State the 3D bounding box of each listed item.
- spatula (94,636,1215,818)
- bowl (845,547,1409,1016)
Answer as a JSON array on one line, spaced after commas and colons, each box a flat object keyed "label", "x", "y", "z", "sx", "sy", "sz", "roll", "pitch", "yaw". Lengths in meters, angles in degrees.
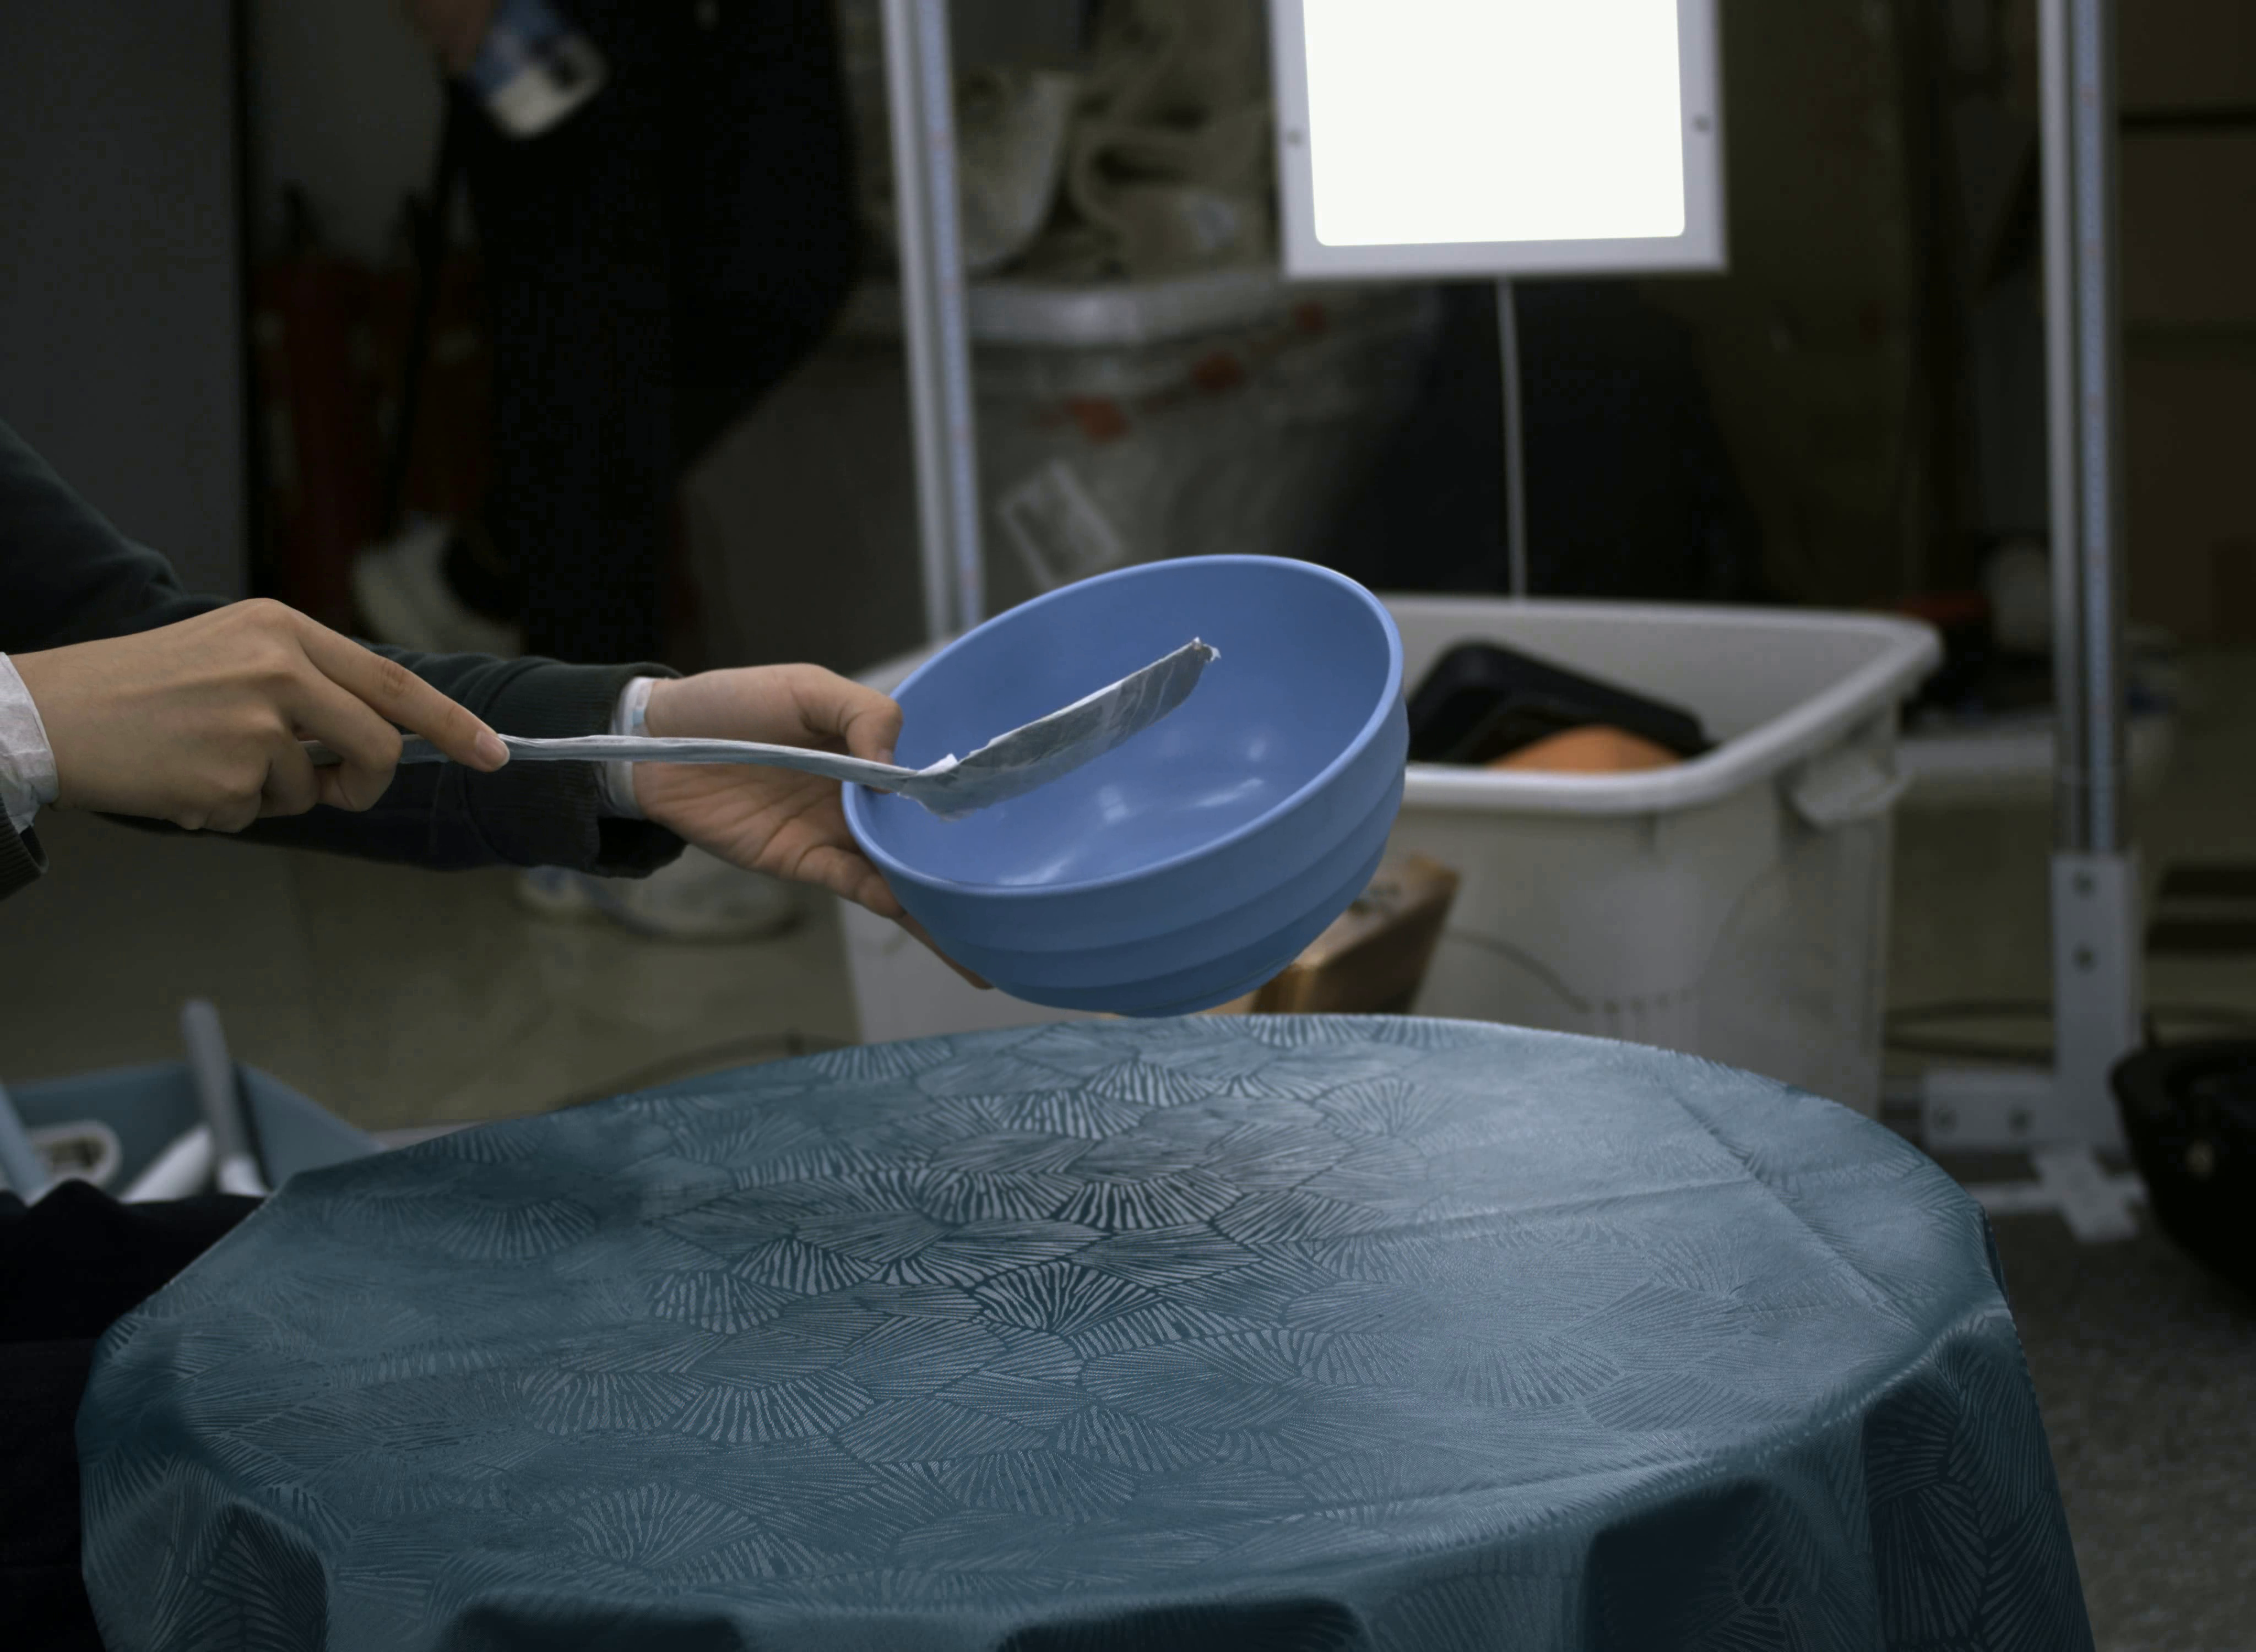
[{"label": "spatula", "x": -0.147, "y": -0.028, "z": 1.759, "sx": 0.359, "sy": 0.045, "sz": 0.100, "roll": 0, "pitch": -16, "yaw": -15}, {"label": "bowl", "x": 0.010, "y": 0.000, "z": 1.864, "sx": 0.197, "sy": 0.095, "sz": 0.196, "roll": -15, "pitch": 33, "yaw": 9}]
